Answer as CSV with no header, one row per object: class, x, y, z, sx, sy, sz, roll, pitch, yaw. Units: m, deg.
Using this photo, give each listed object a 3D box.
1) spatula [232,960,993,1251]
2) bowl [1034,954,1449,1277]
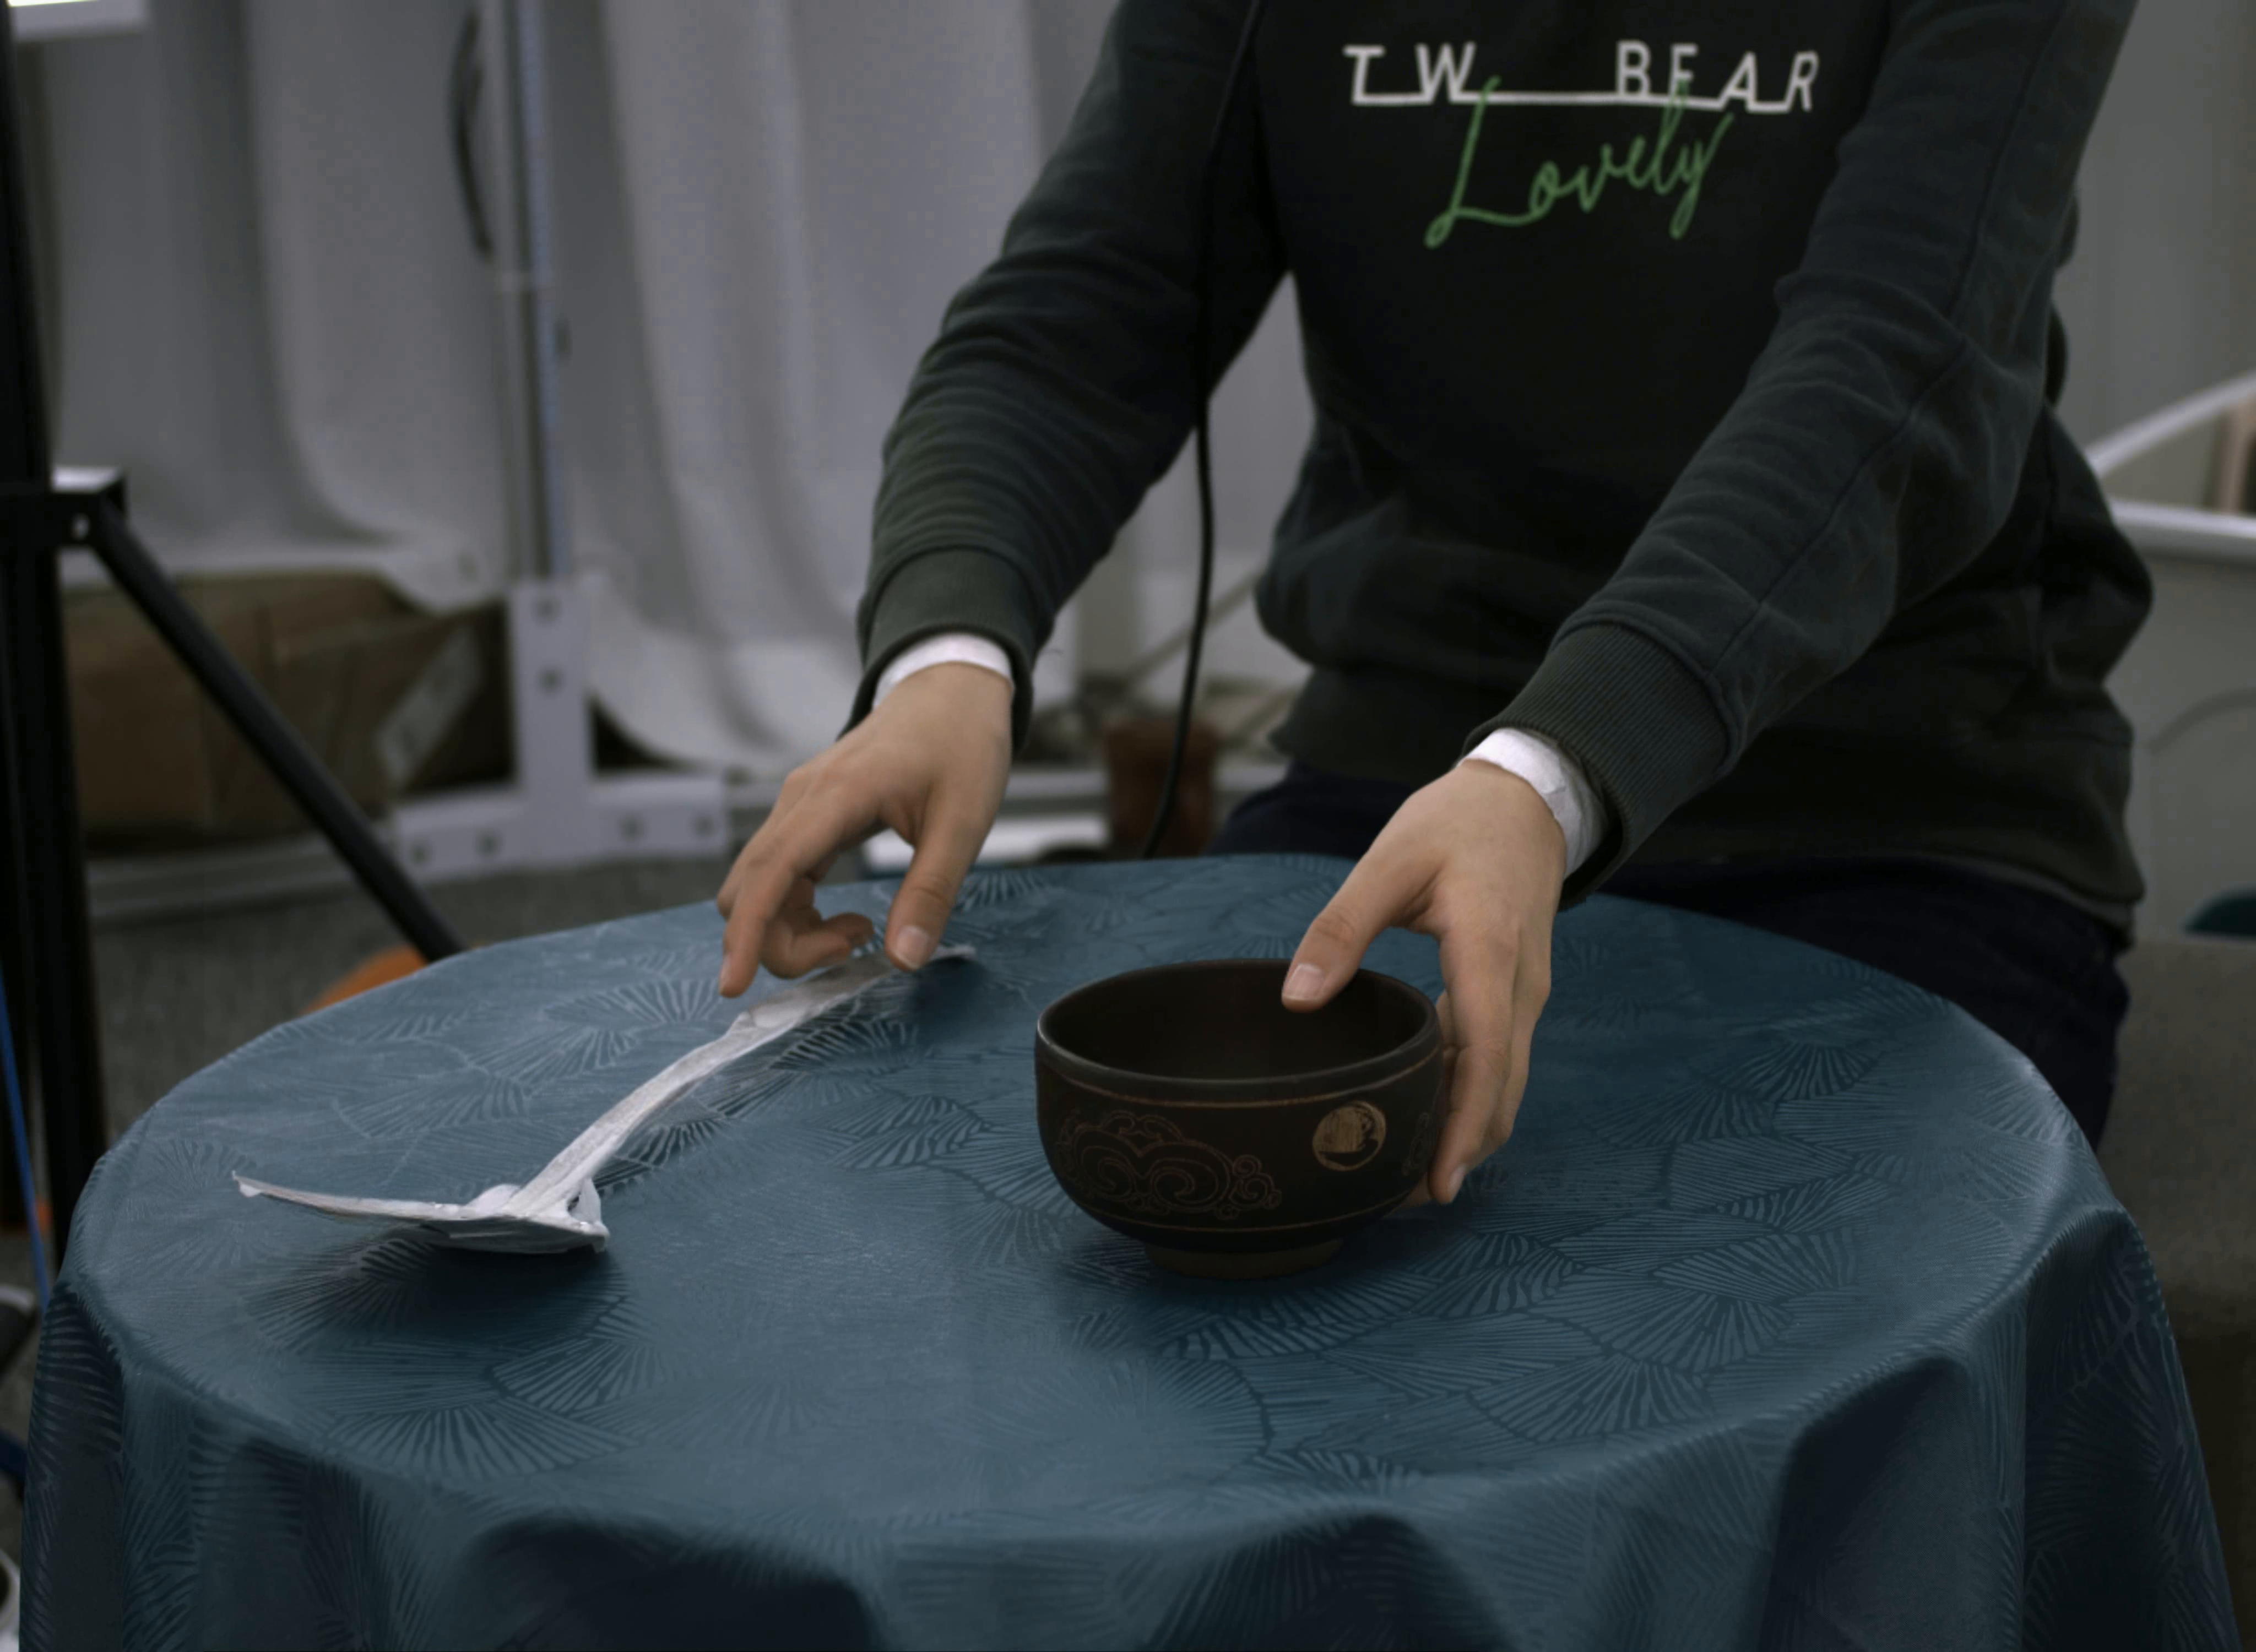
spatula,-0.135,0.075,1.625,0.100,0.045,0.359,3,17,27
bowl,0.032,0.086,1.501,0.117,0.070,0.118,-1,15,-1
